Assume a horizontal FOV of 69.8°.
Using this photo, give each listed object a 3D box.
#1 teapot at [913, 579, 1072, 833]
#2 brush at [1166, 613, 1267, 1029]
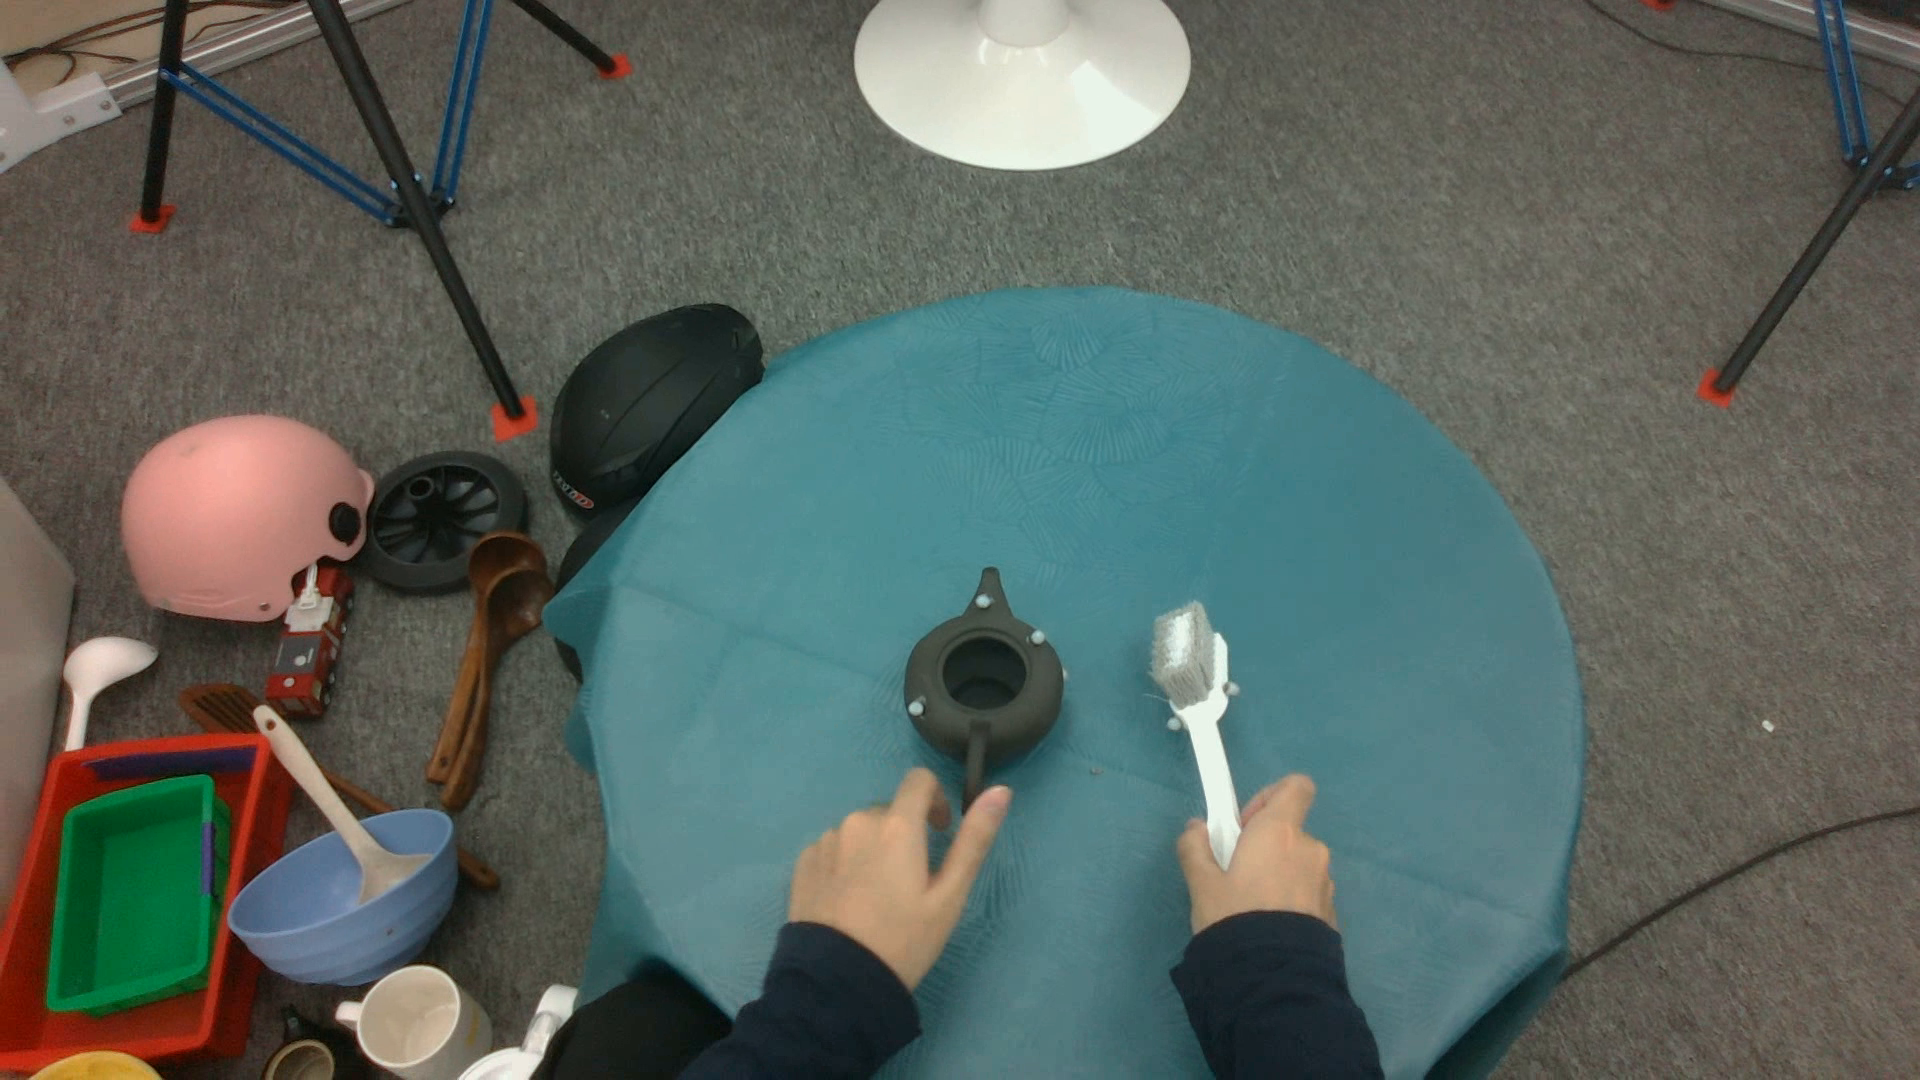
[{"bbox_3d":[0.018,0.097,0.803,0.092,0.064,0.155,5,57,4],"label":"teapot"},{"bbox_3d":[0.139,0.142,0.755,0.034,0.050,0.245,-18,44,22],"label":"brush"}]
